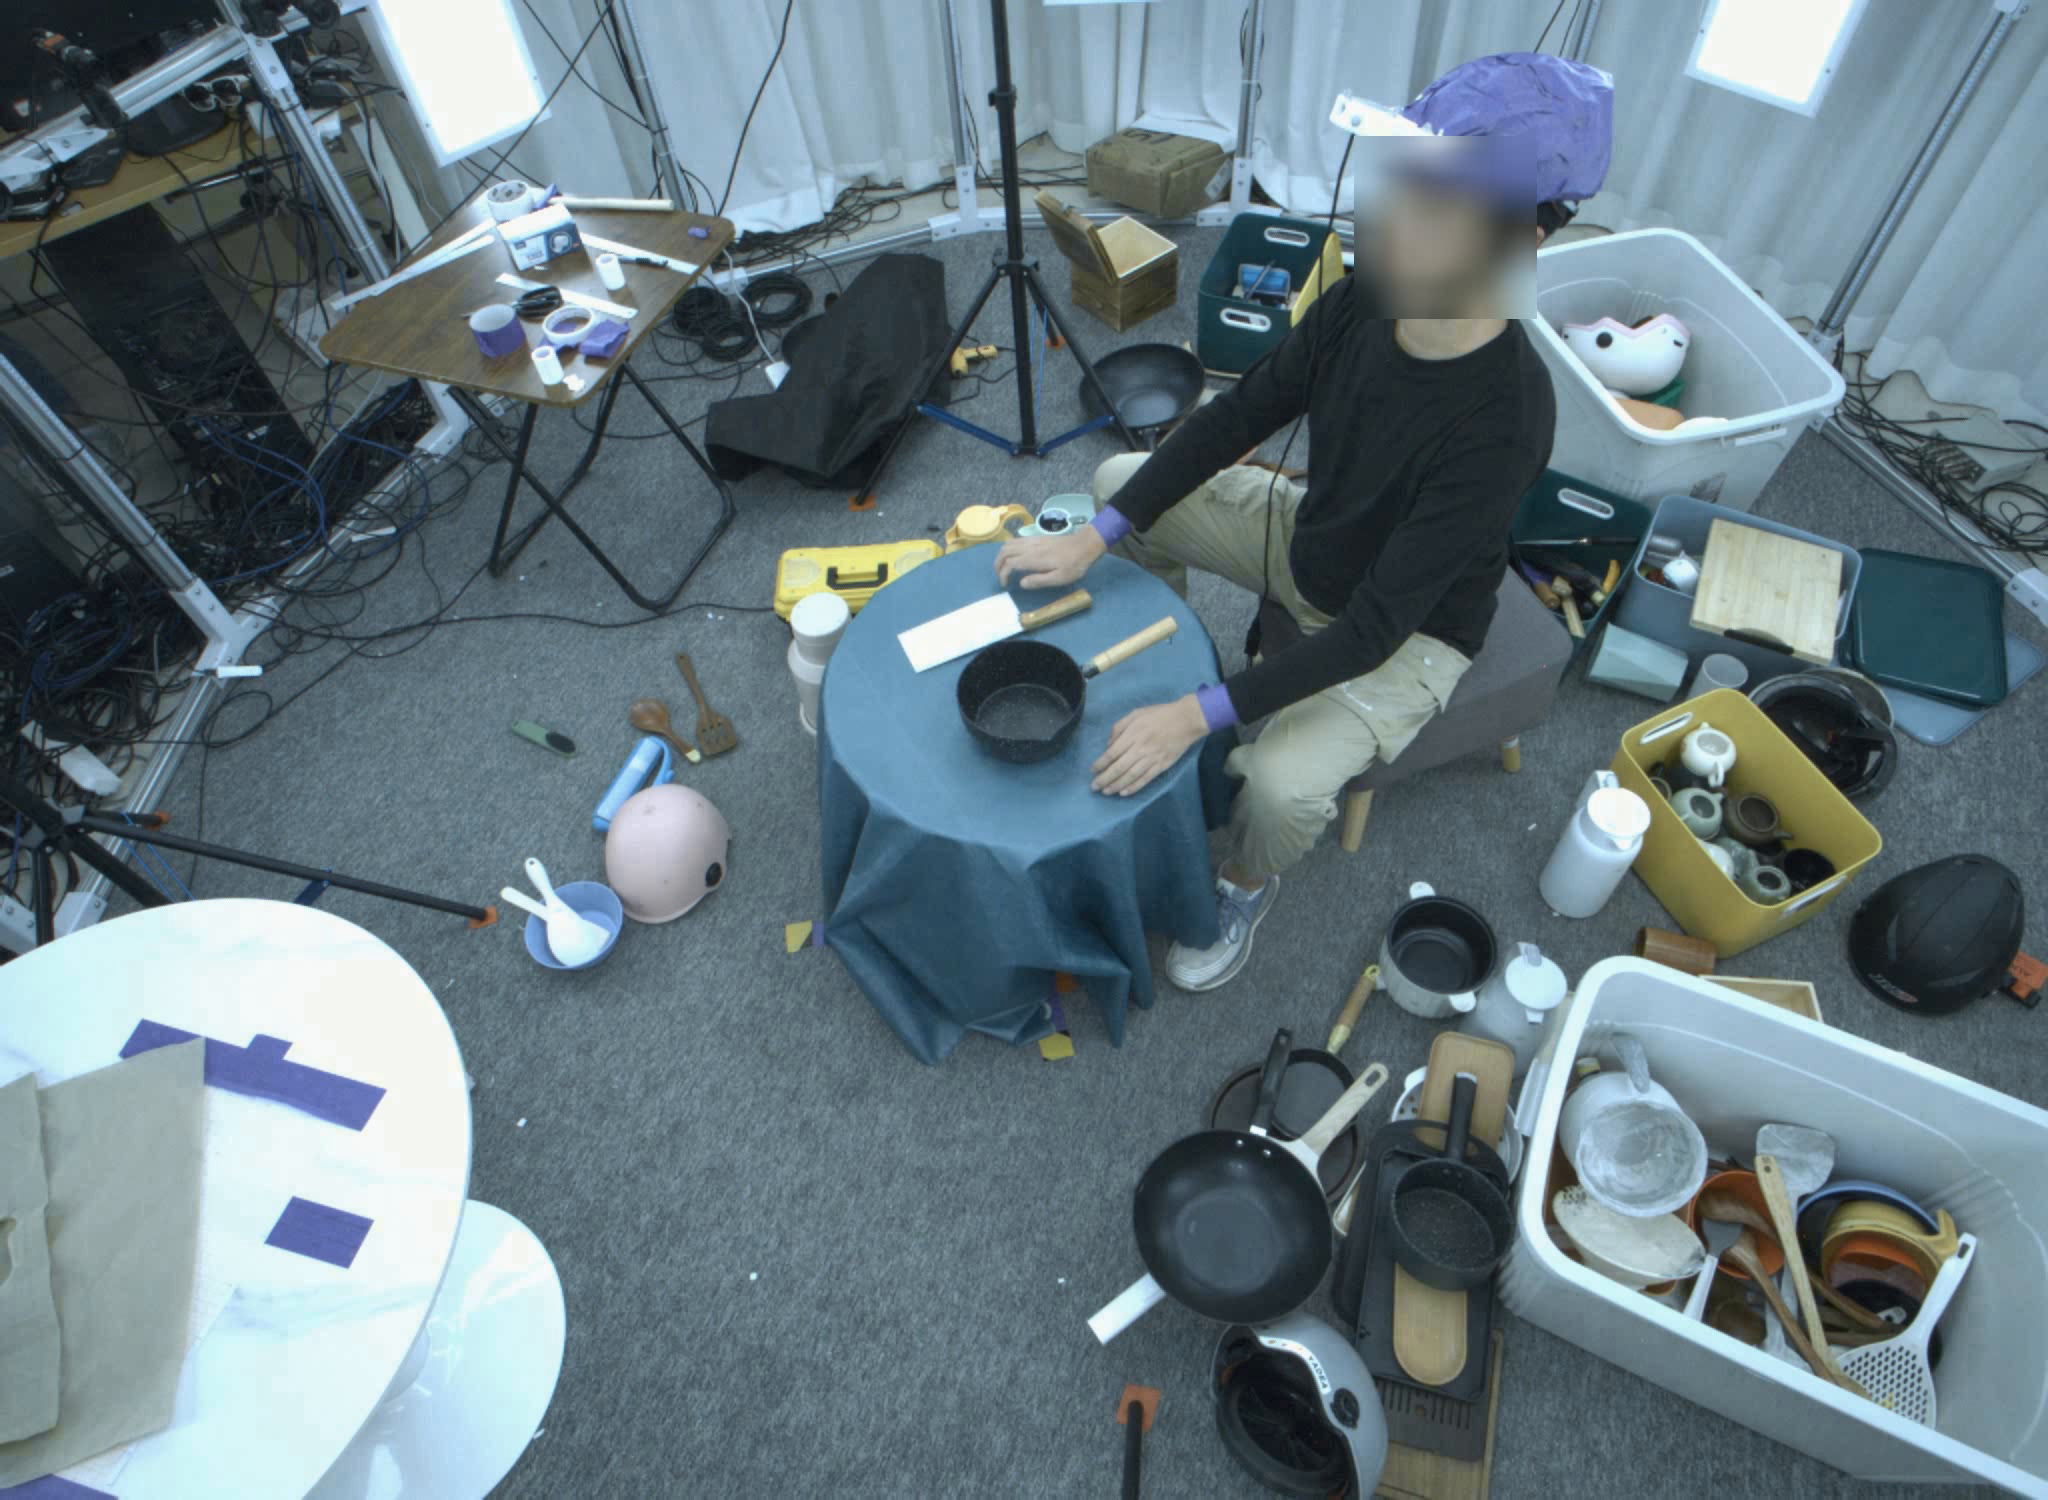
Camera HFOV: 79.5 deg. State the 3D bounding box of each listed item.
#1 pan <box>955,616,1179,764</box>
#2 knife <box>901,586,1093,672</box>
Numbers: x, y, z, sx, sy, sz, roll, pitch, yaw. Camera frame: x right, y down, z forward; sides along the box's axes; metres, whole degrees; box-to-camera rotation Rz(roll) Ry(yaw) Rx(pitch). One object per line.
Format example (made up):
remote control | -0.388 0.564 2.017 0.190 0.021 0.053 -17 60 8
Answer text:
pan | 0.068 -0.101 1.787 0.345 0.109 0.203 -23 56 -13
knife | -0.045 -0.206 1.922 0.307 0.021 0.091 -23 56 -11
